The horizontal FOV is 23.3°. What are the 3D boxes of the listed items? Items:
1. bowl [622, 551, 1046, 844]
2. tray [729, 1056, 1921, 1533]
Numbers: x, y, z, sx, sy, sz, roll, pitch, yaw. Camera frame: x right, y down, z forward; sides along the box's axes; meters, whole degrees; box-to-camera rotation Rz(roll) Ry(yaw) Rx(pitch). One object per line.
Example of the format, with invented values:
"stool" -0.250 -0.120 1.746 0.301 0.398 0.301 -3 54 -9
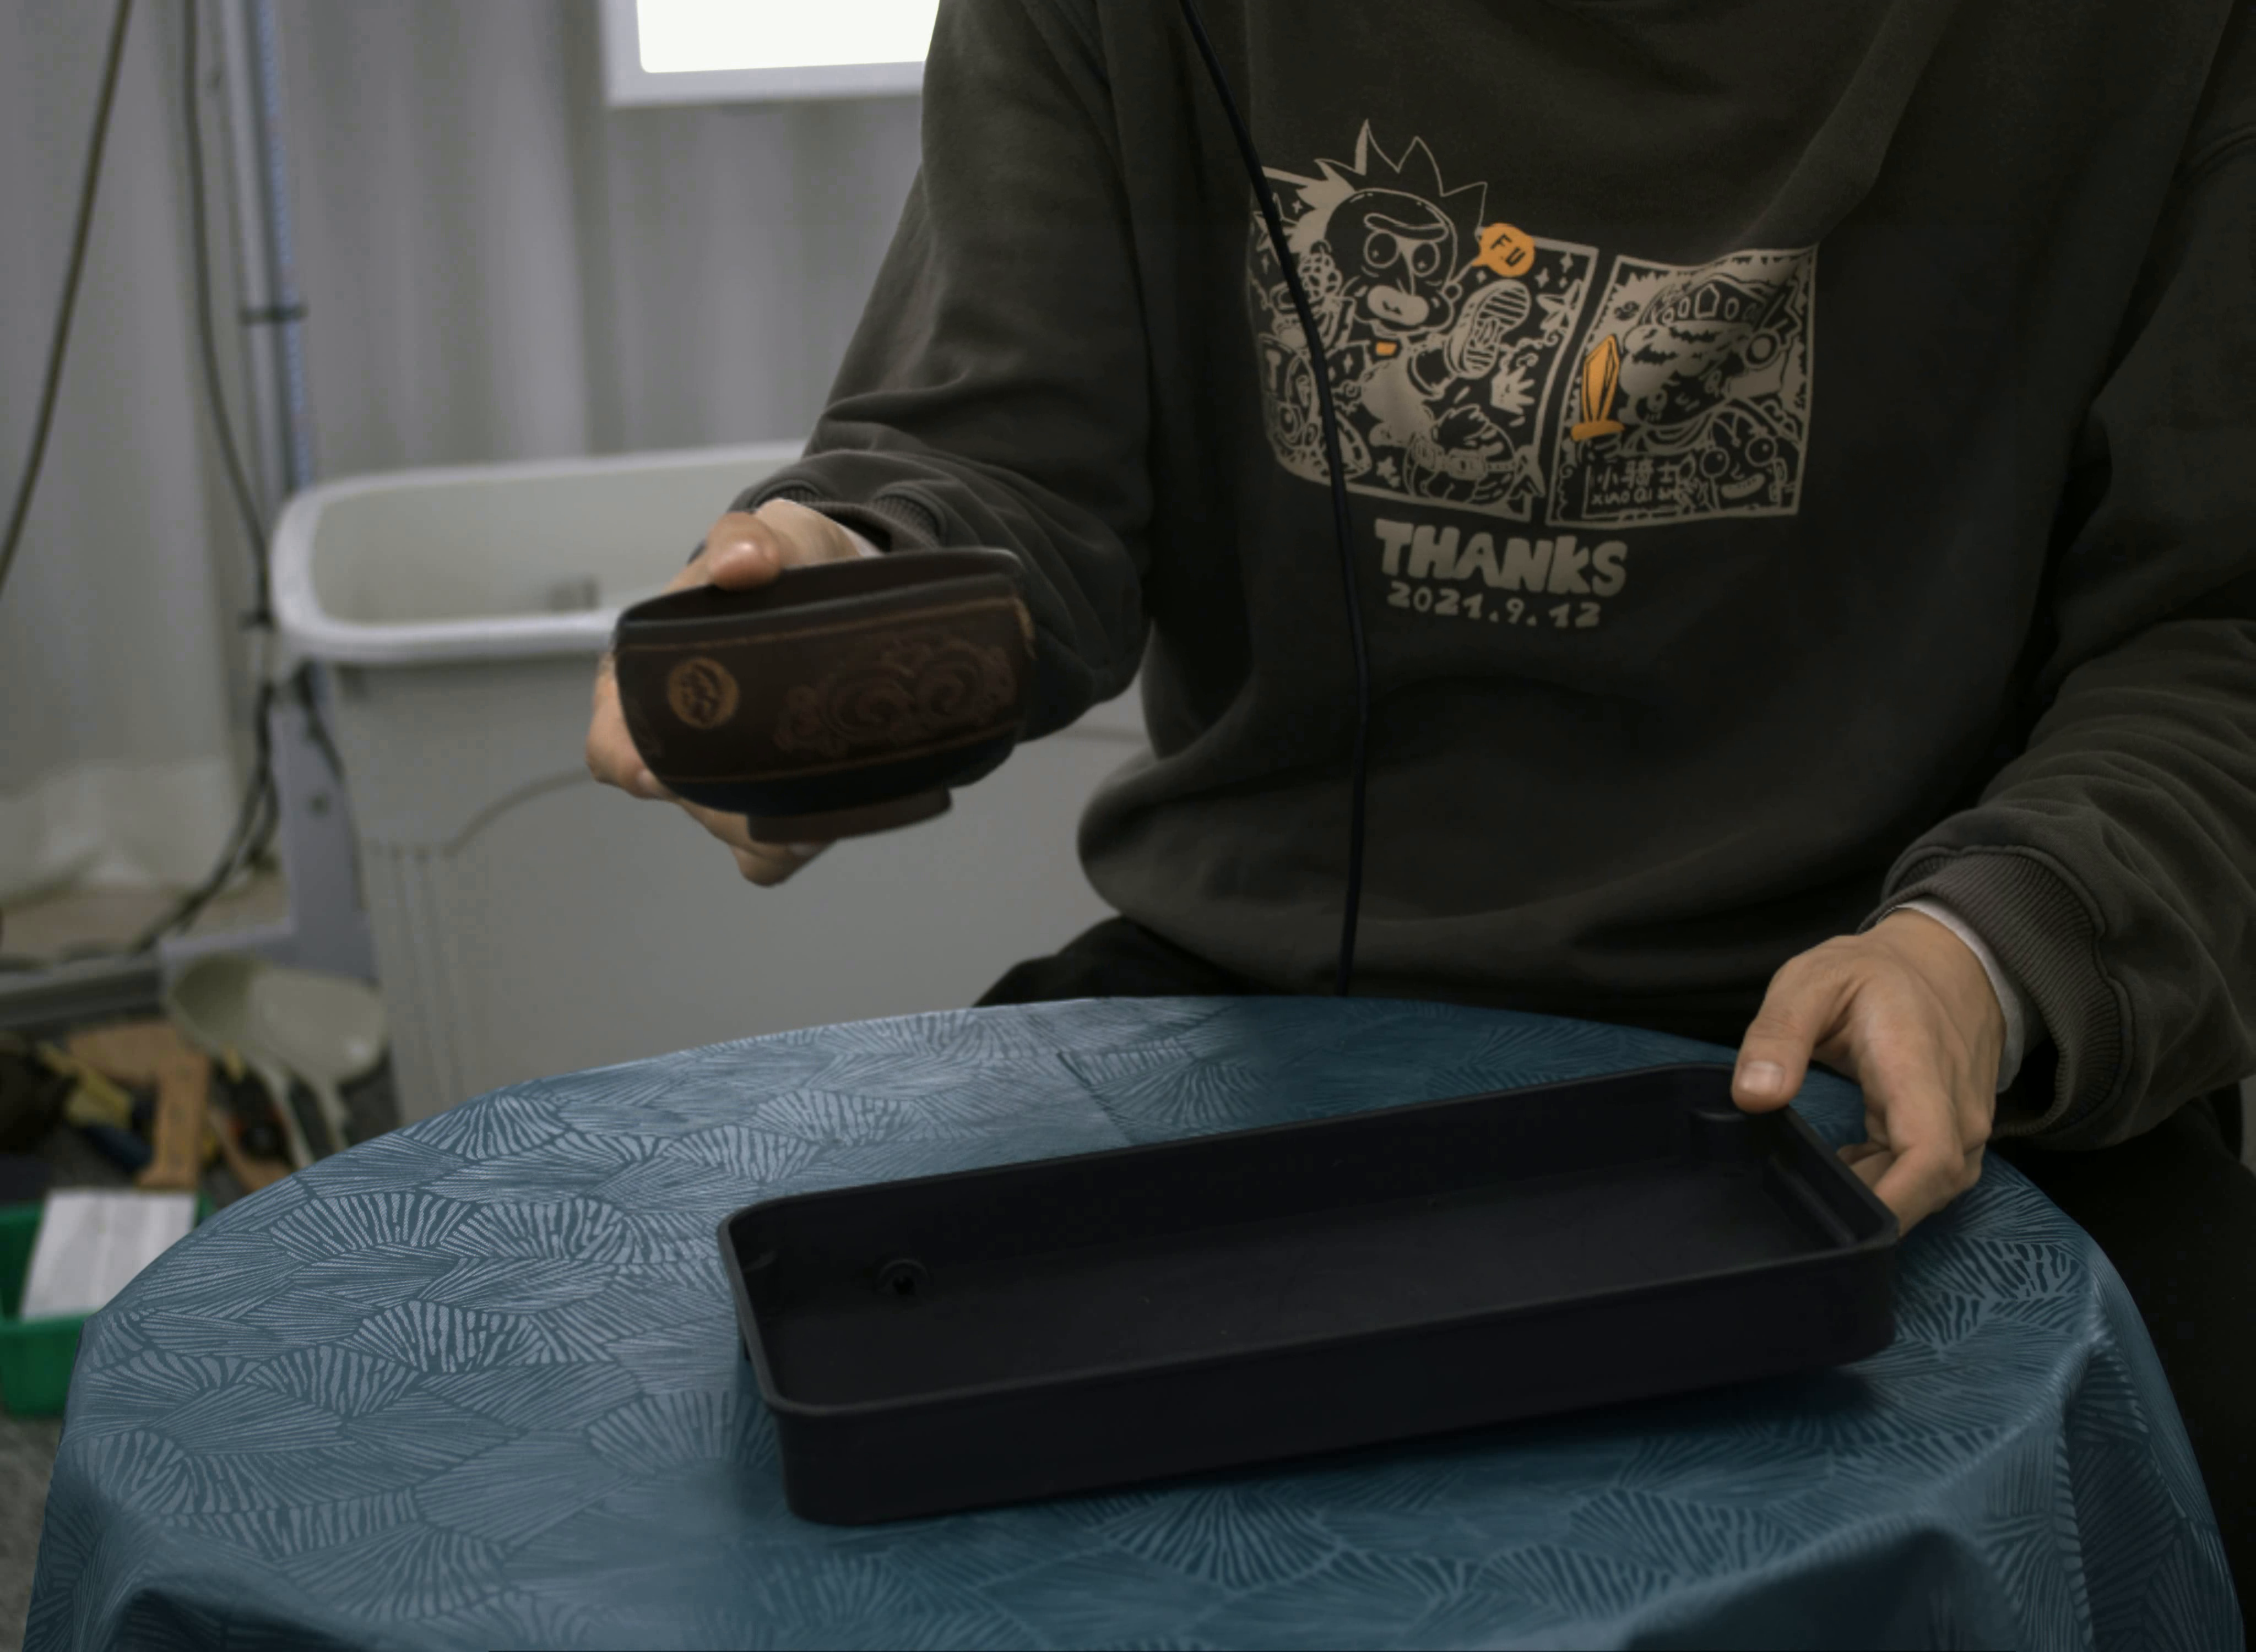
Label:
"bowl" -0.080 -0.034 1.535 0.117 0.070 0.118 -8 7 1
"tray" 0.053 0.130 1.560 0.317 0.037 0.185 -9 15 -9
